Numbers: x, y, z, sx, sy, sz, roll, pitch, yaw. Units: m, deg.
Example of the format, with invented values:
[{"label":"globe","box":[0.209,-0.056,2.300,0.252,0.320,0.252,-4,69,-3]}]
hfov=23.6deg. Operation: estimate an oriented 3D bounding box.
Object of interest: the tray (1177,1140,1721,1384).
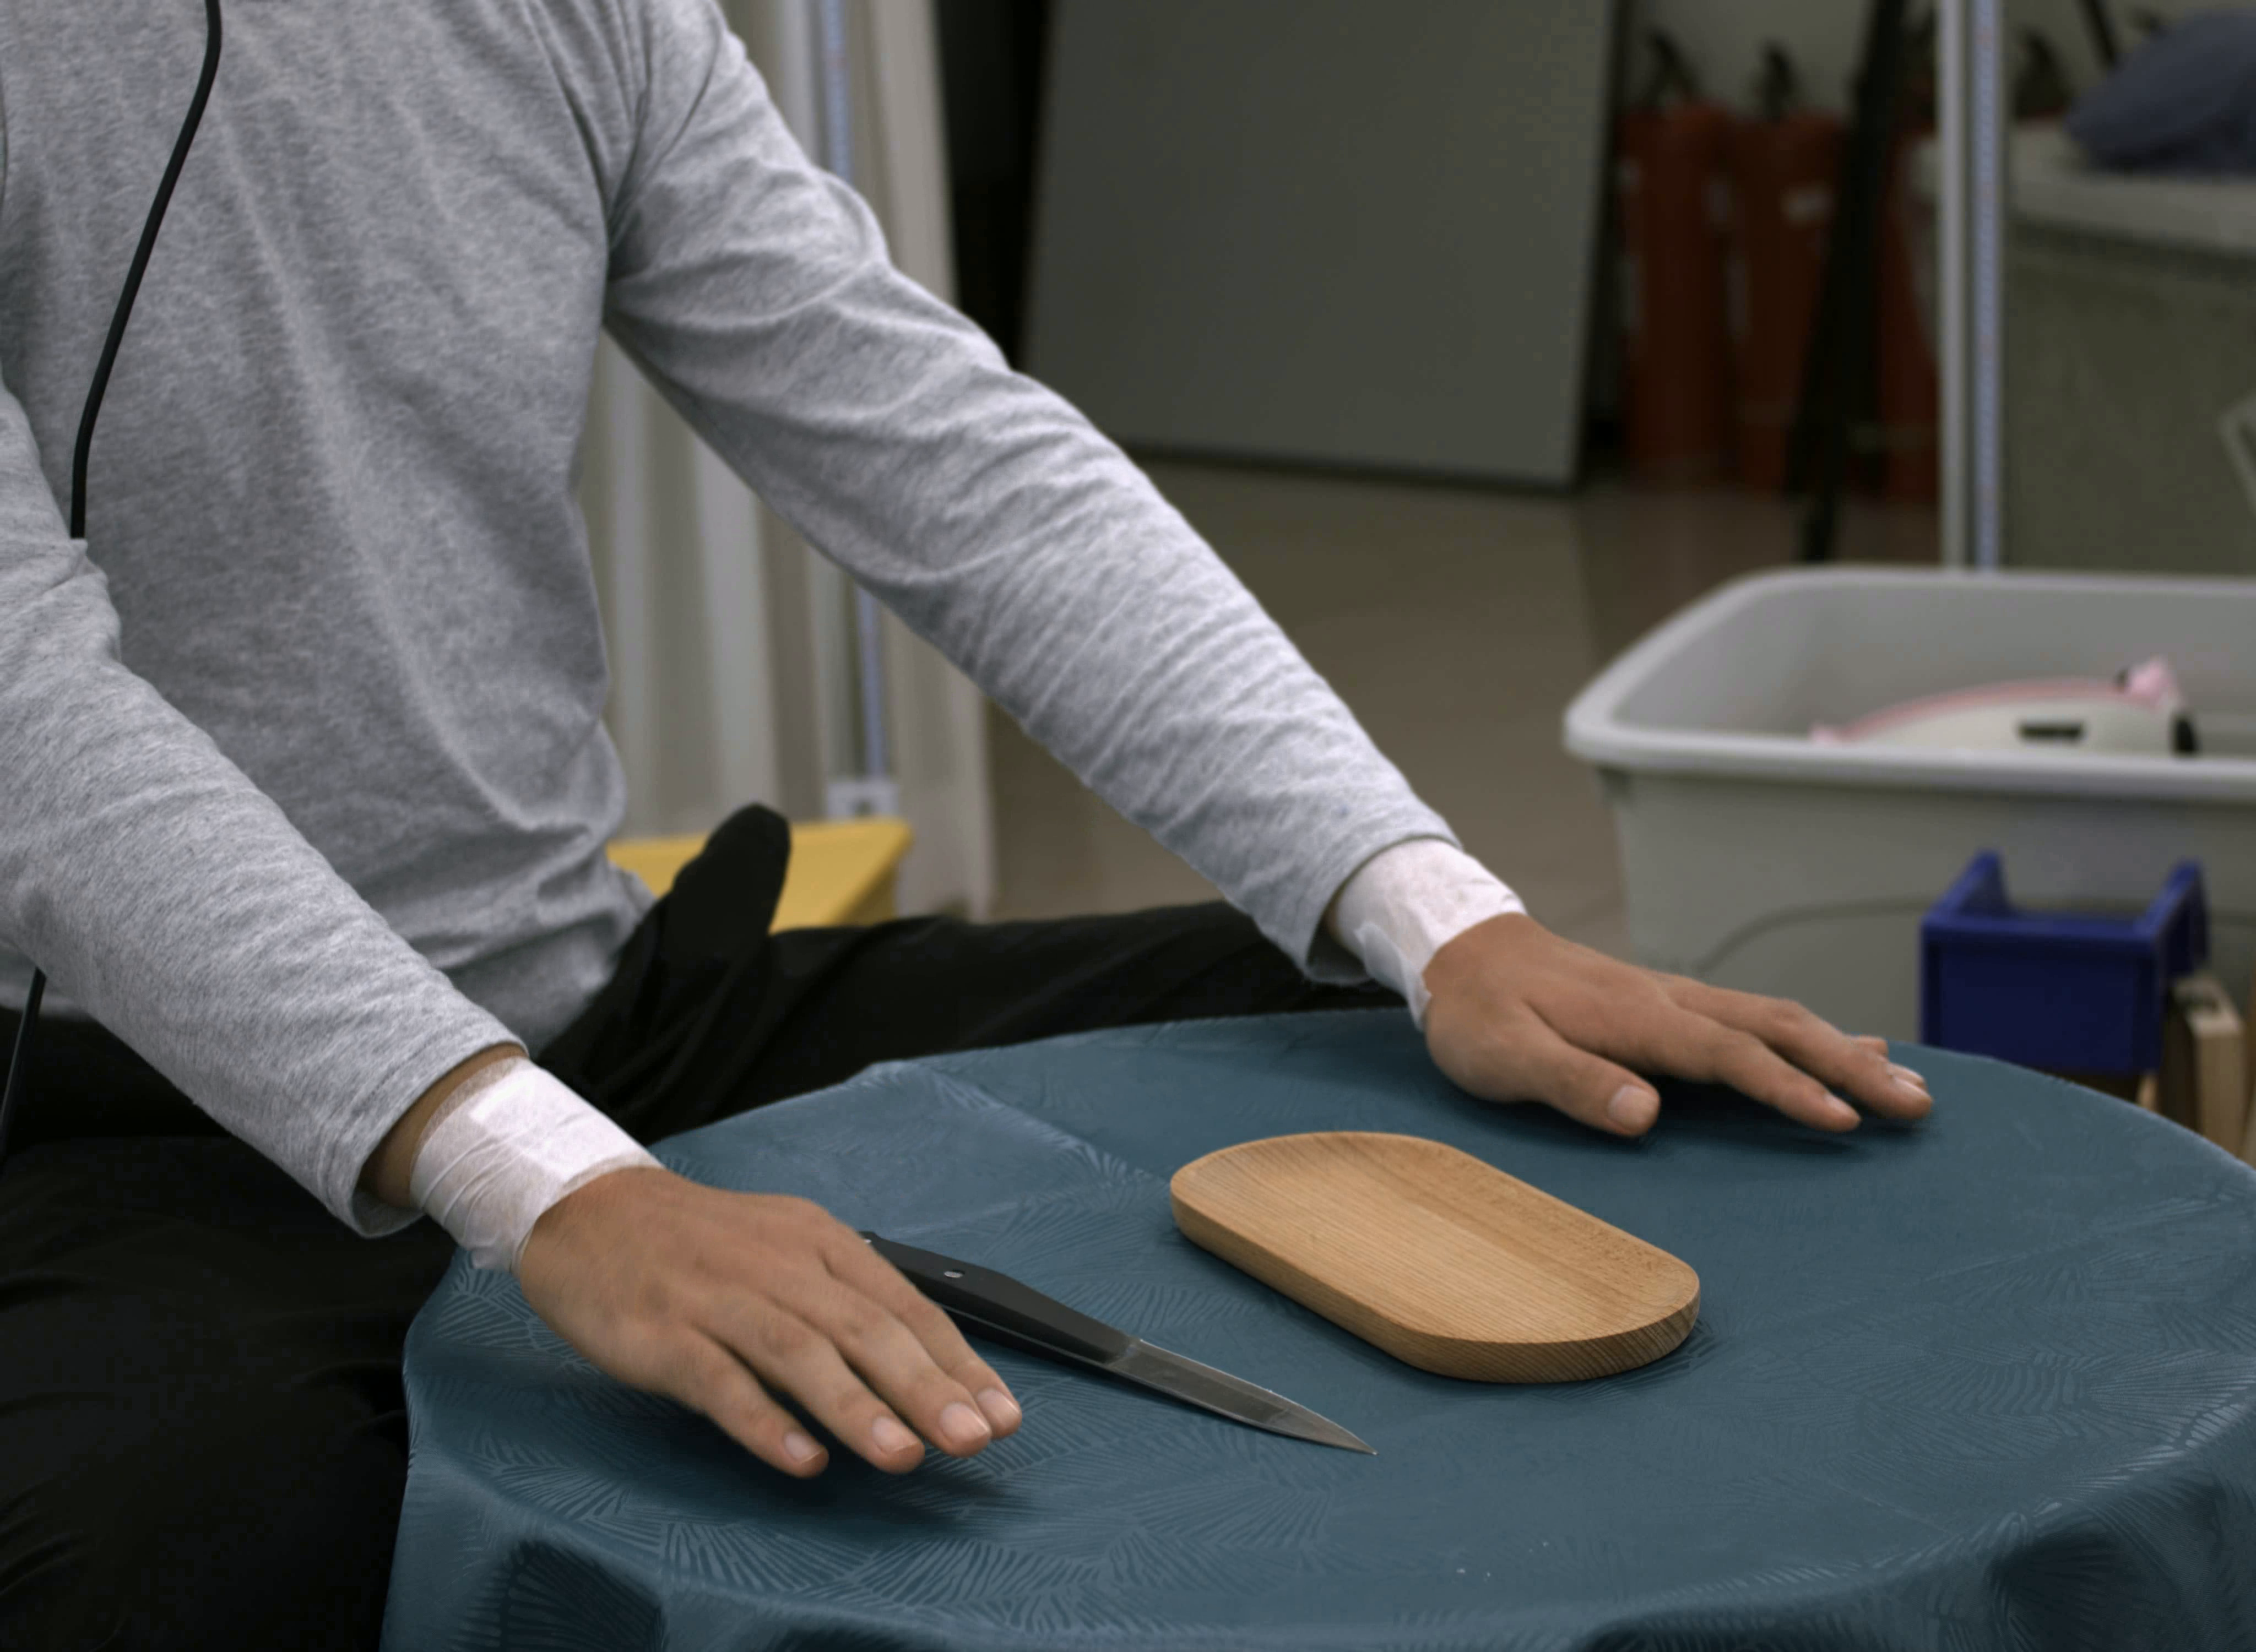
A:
[{"label":"tray","box":[0.097,0.133,1.666,0.099,0.020,0.233,-12,17,-26]}]

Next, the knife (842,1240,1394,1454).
[{"label":"knife","box":[-0.008,0.157,1.607,0.024,0.016,0.240,-13,18,-41]}]
